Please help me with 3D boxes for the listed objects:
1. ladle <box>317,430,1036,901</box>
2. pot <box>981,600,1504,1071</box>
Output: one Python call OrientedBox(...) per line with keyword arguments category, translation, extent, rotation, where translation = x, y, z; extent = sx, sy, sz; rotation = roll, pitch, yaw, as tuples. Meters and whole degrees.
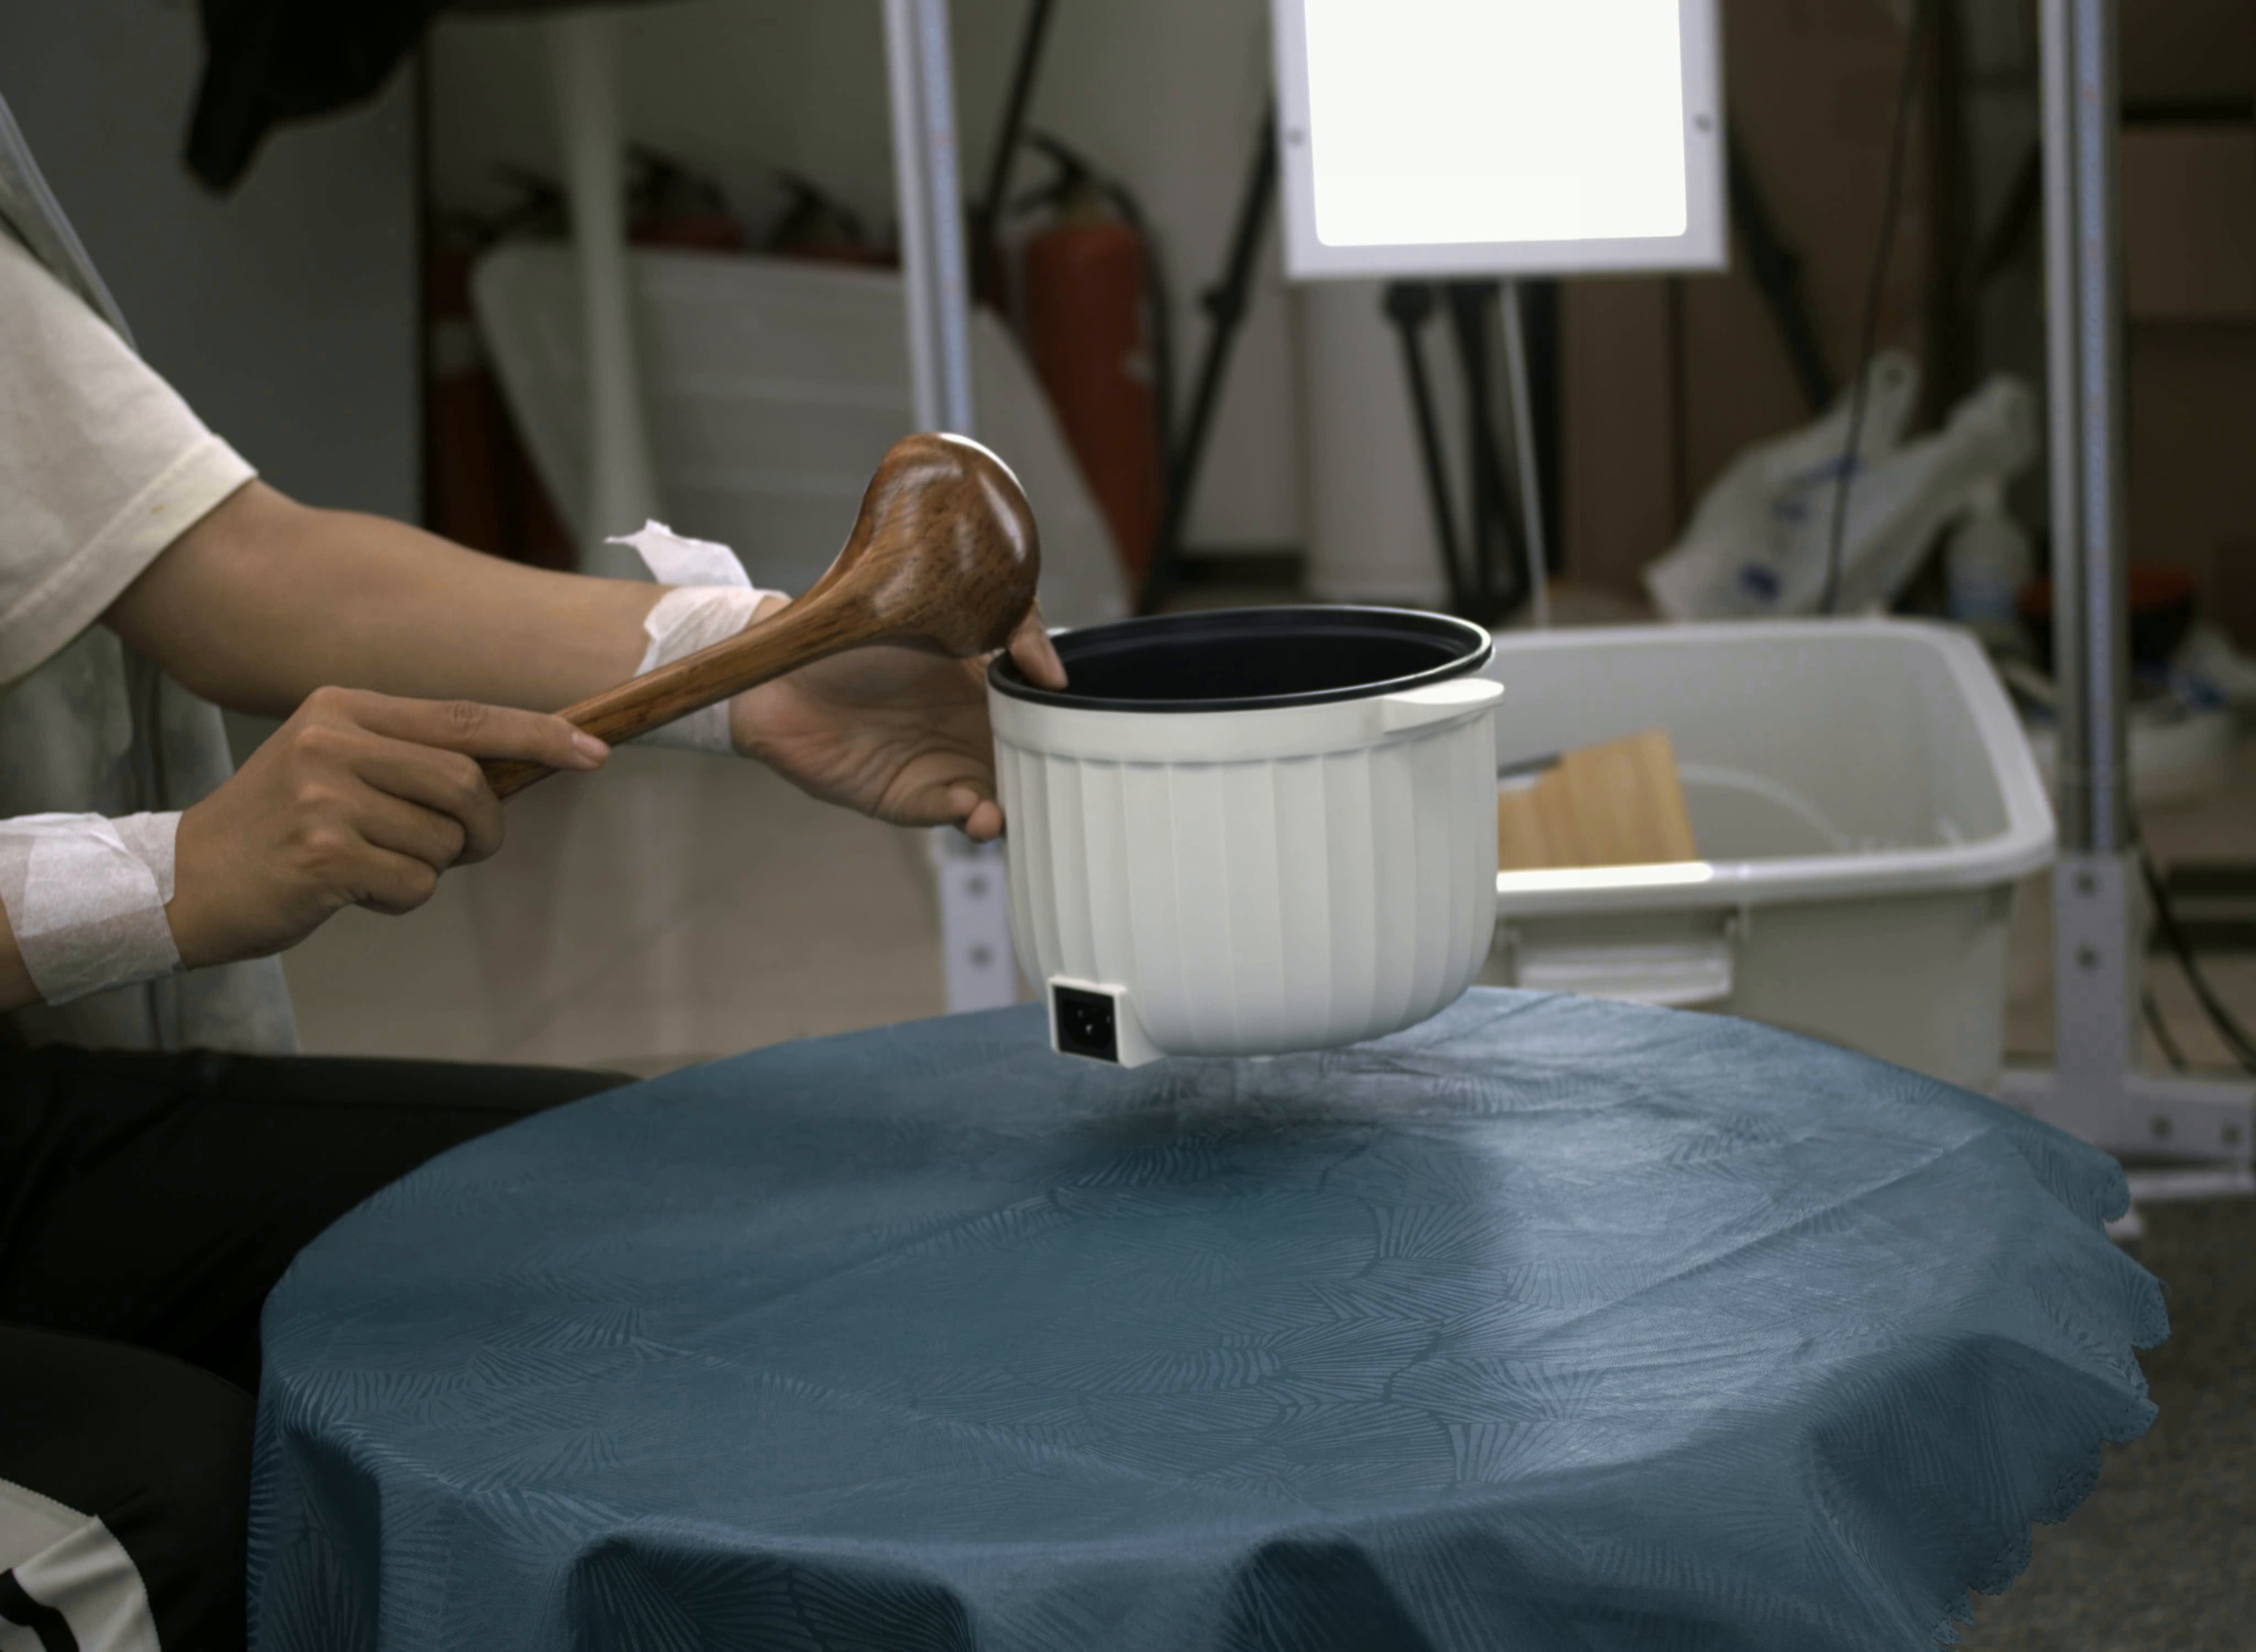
OrientedBox(category="ladle", translation=(-0.157, -0.052, 1.913), extent=(0.273, 0.082, 0.077), rotation=(-27, 9, -1))
OrientedBox(category="pot", translation=(0.047, 0.001, 1.974), extent=(0.186, 0.143, 0.245), rotation=(-19, 20, -40))
